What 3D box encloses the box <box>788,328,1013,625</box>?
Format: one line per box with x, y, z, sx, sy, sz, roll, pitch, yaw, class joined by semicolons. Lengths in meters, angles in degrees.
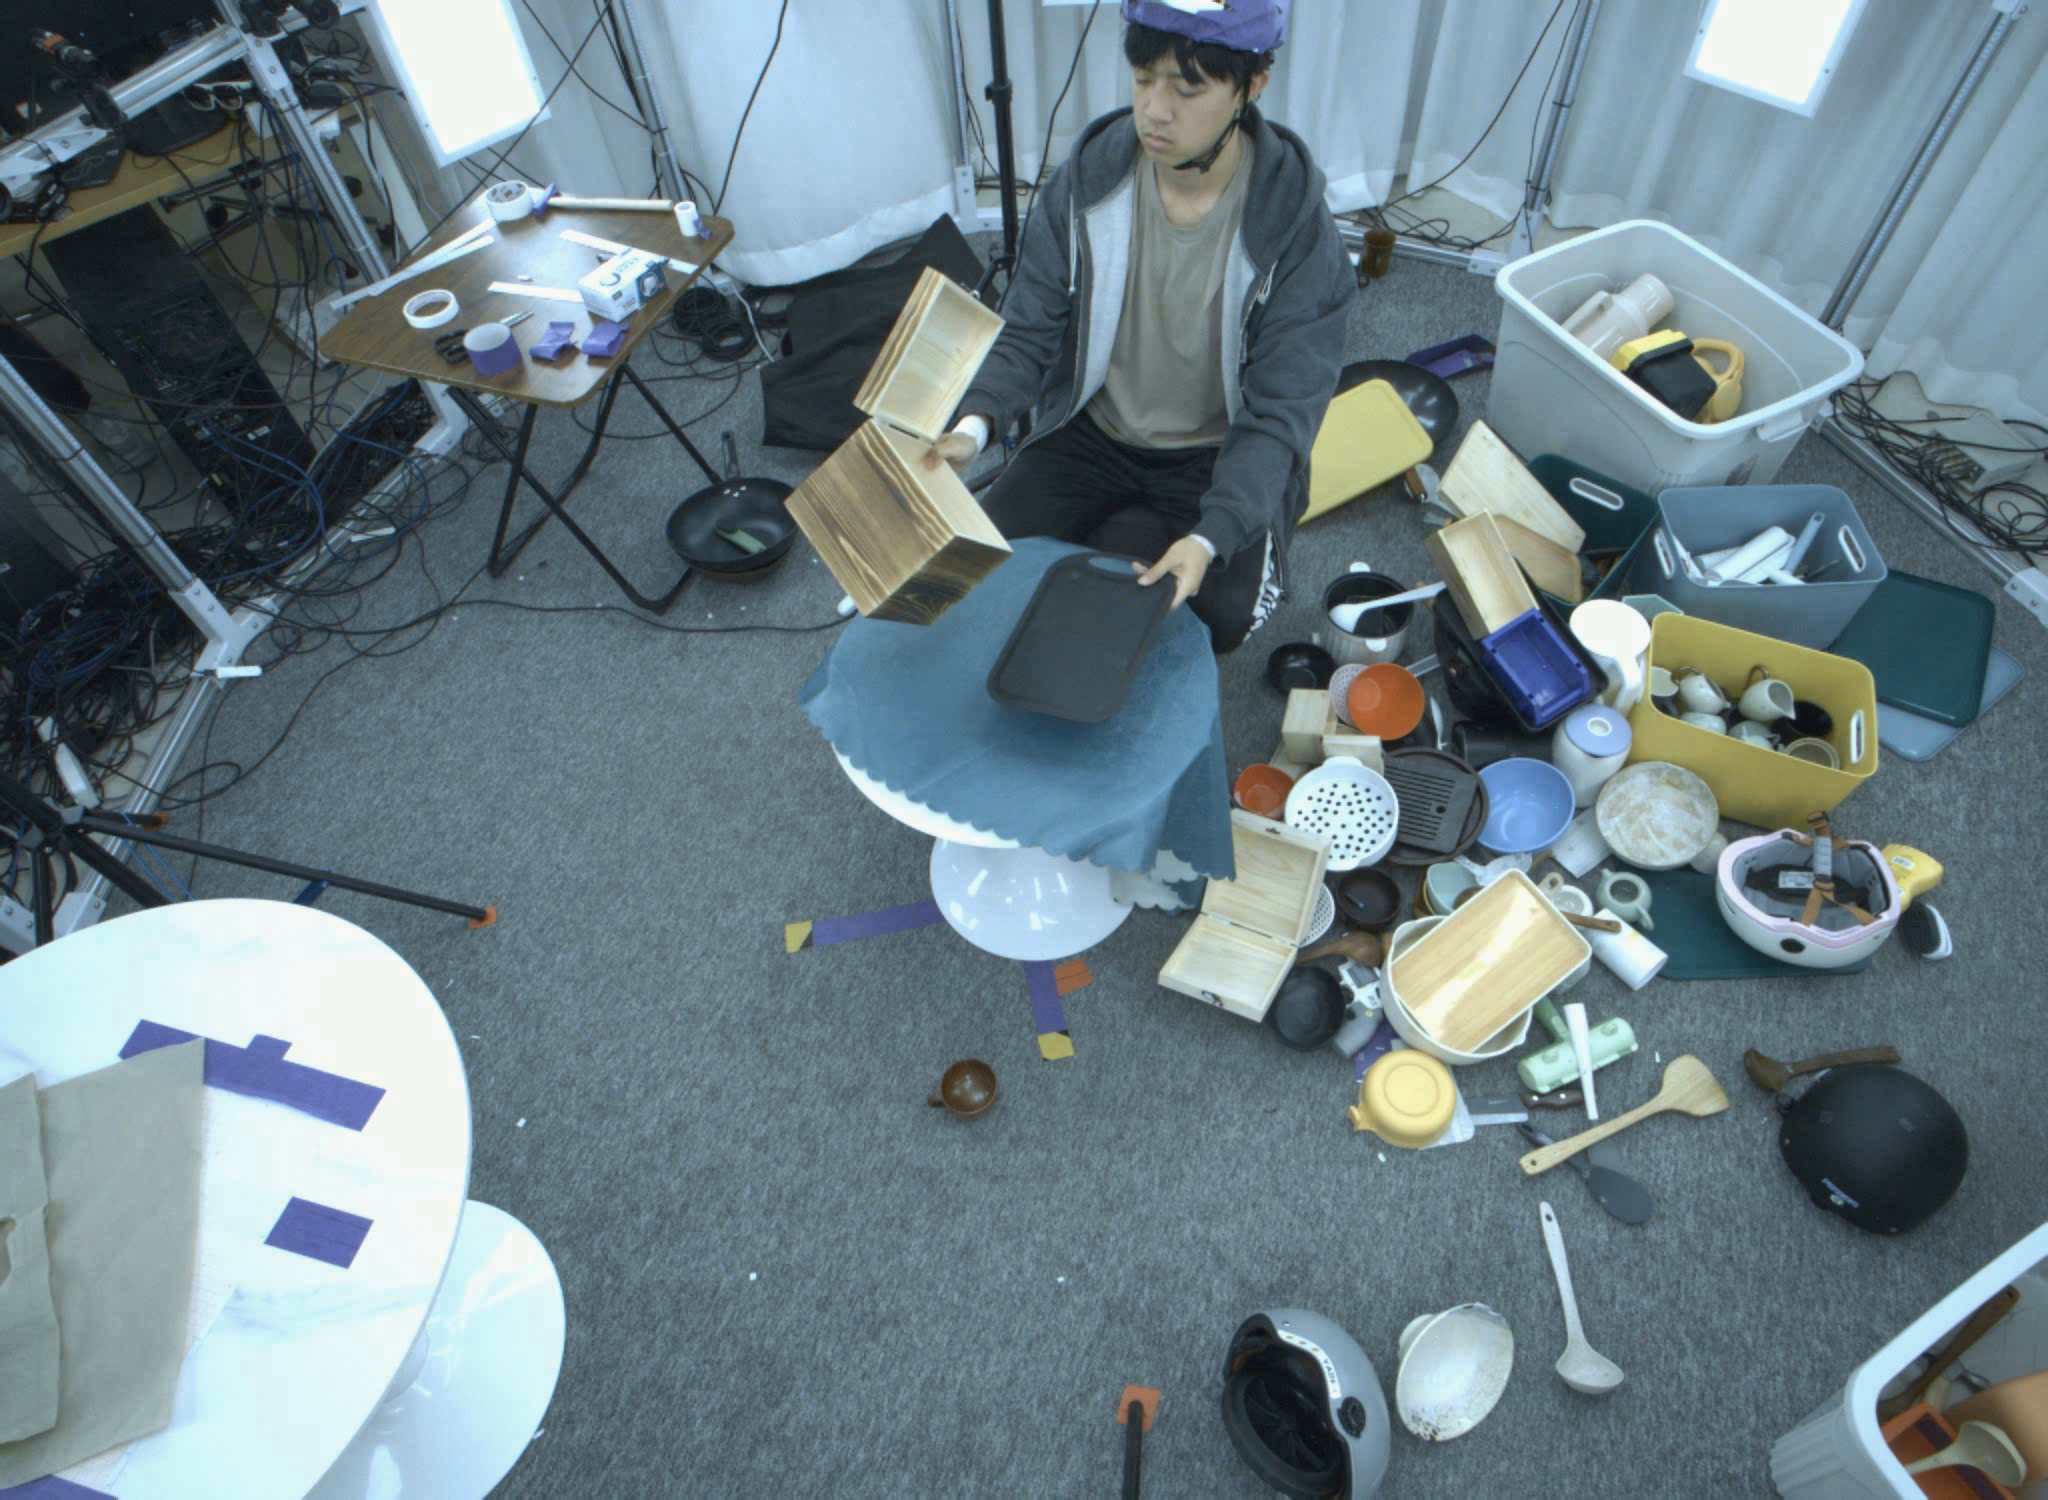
-0.132;-0.403;1.660;0.373;0.211;0.320;-40;81;19;box

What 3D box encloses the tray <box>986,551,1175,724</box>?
0.087;-0.176;1.799;0.208;0.010;0.325;14;58;20;tray
